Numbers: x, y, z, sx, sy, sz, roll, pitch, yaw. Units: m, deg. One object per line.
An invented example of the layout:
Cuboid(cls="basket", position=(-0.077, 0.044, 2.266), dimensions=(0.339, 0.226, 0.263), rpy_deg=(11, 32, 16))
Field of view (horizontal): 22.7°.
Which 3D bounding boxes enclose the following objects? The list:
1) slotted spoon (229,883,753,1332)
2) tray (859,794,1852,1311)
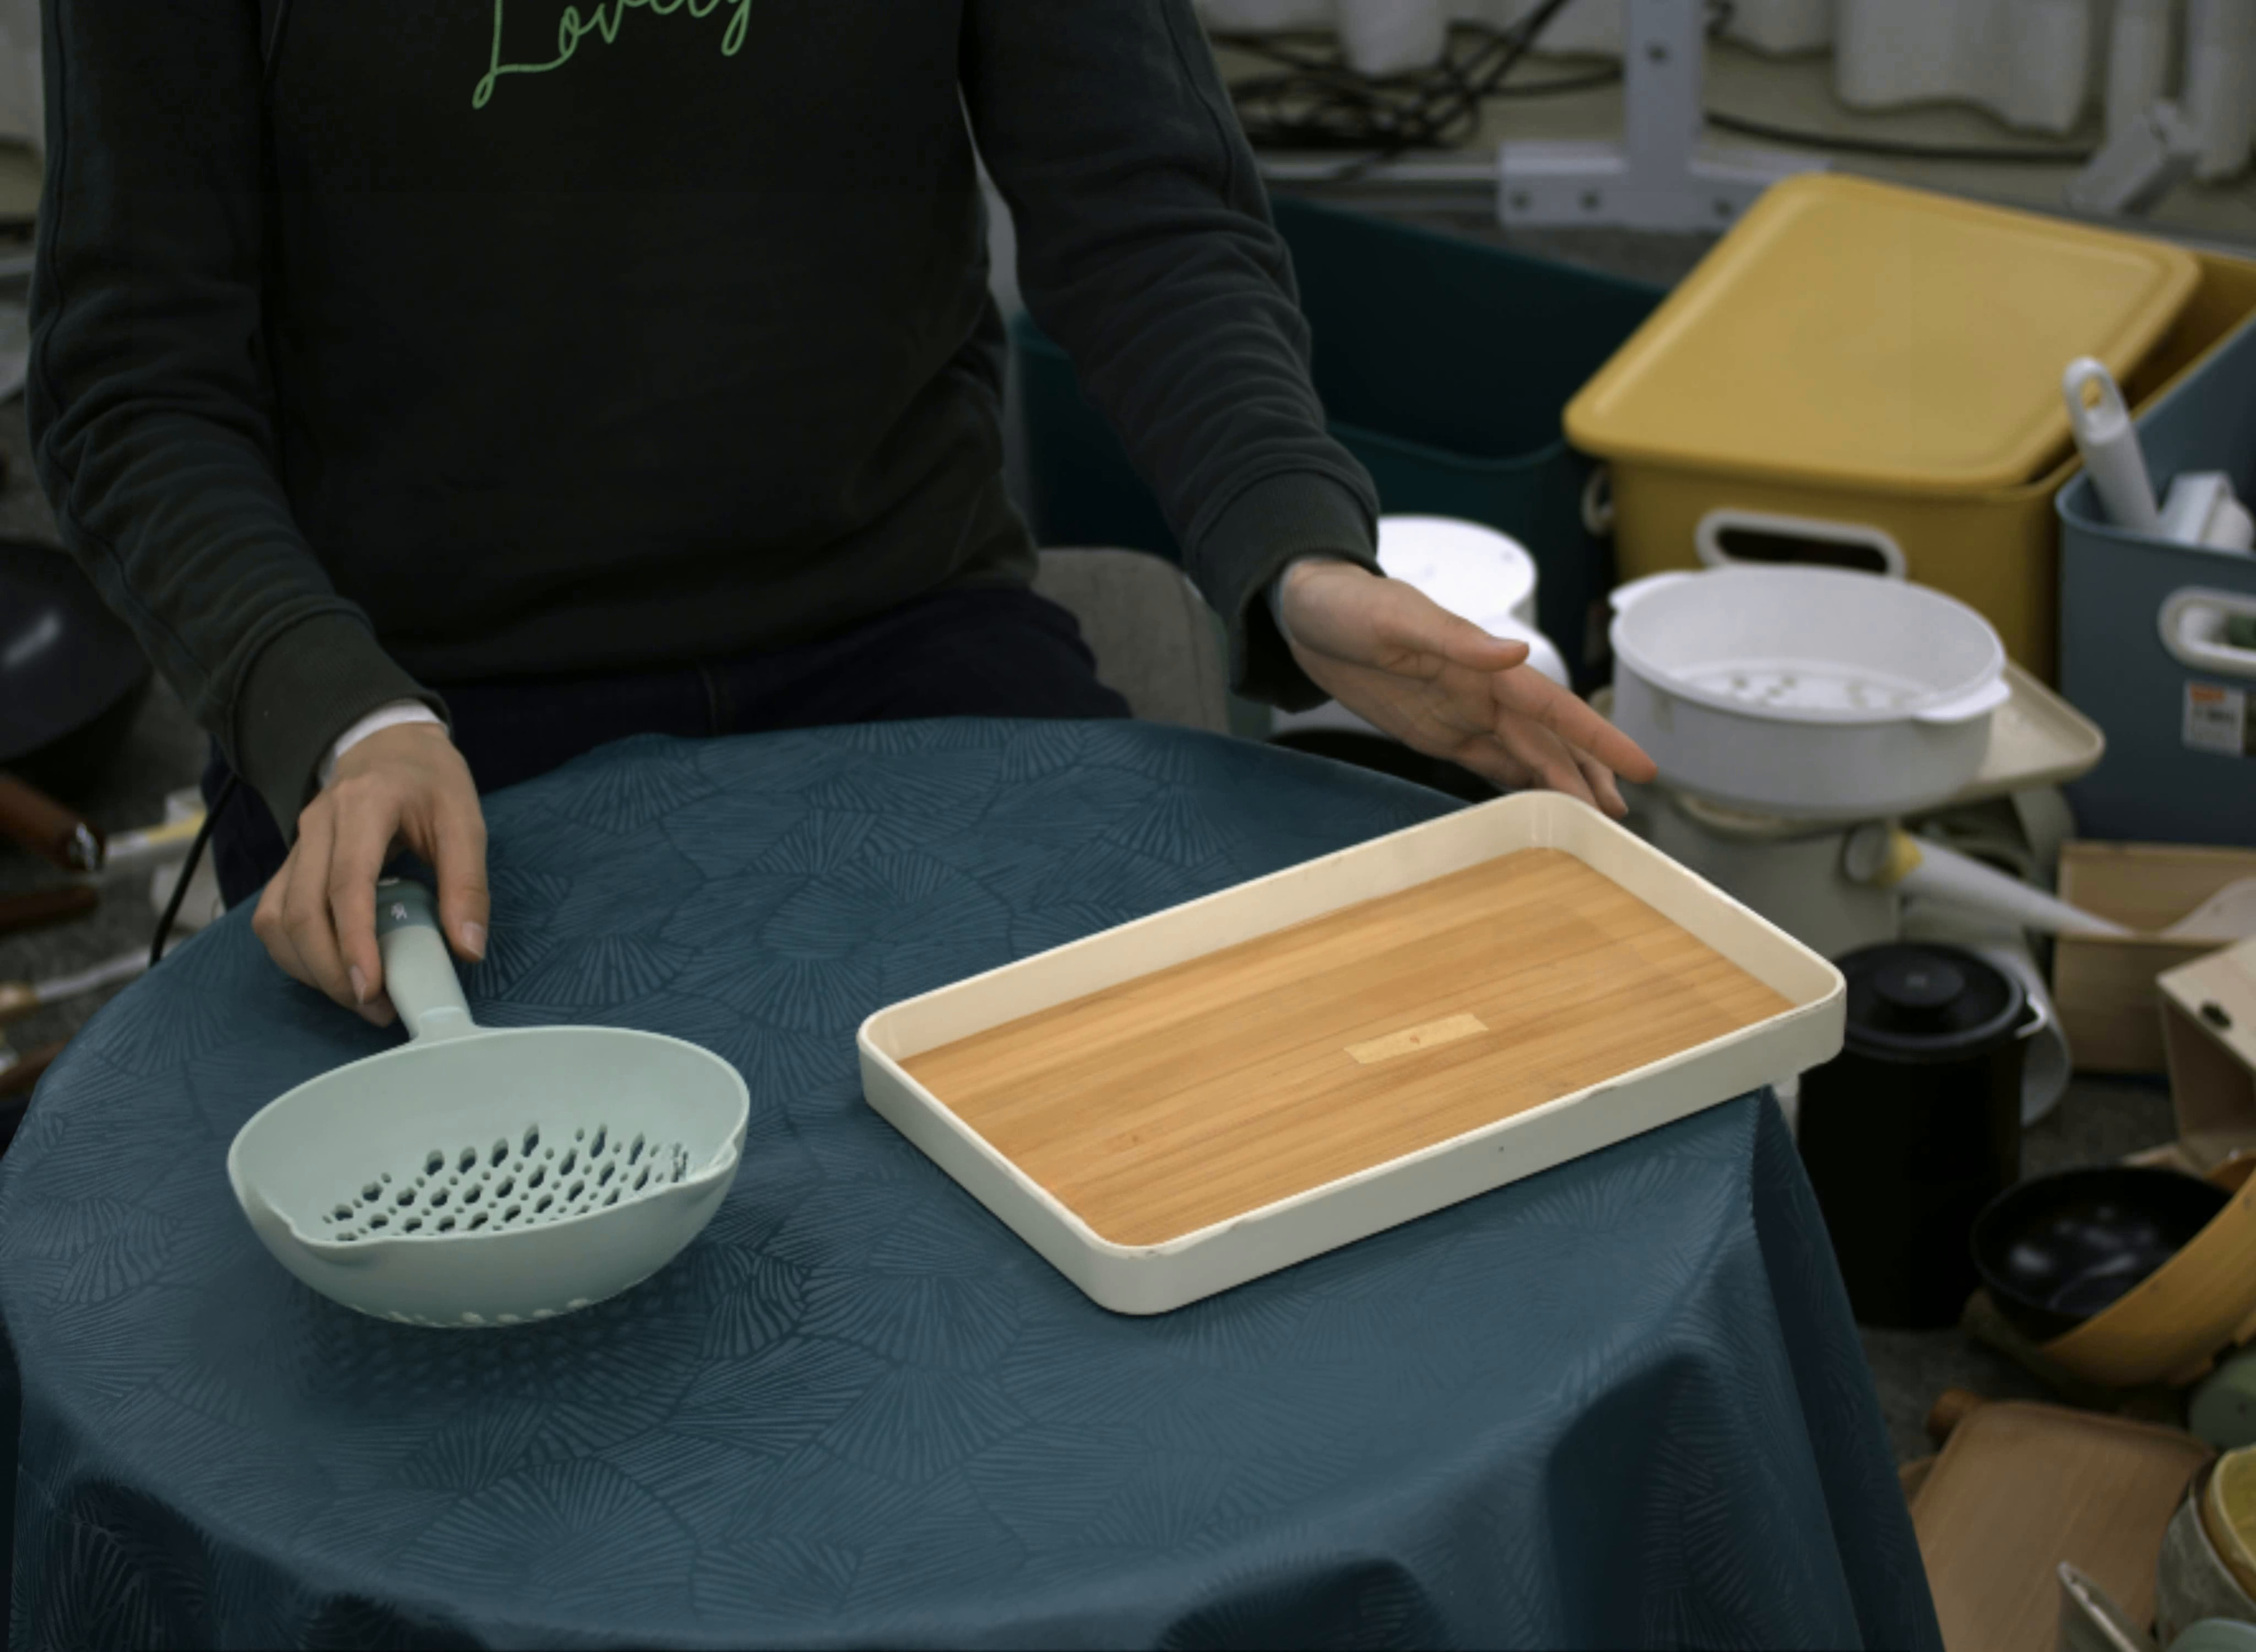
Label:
Cuboid(cls="slotted spoon", position=(-0.228, 0.079, 1.897), dimensions=(0.169, 0.074, 0.362), rpy_deg=(-9, 28, -12))
Cuboid(cls="tray", position=(0.077, 0.073, 1.920), dimensions=(0.302, 0.027, 0.192), rpy_deg=(-17, 31, -27))
